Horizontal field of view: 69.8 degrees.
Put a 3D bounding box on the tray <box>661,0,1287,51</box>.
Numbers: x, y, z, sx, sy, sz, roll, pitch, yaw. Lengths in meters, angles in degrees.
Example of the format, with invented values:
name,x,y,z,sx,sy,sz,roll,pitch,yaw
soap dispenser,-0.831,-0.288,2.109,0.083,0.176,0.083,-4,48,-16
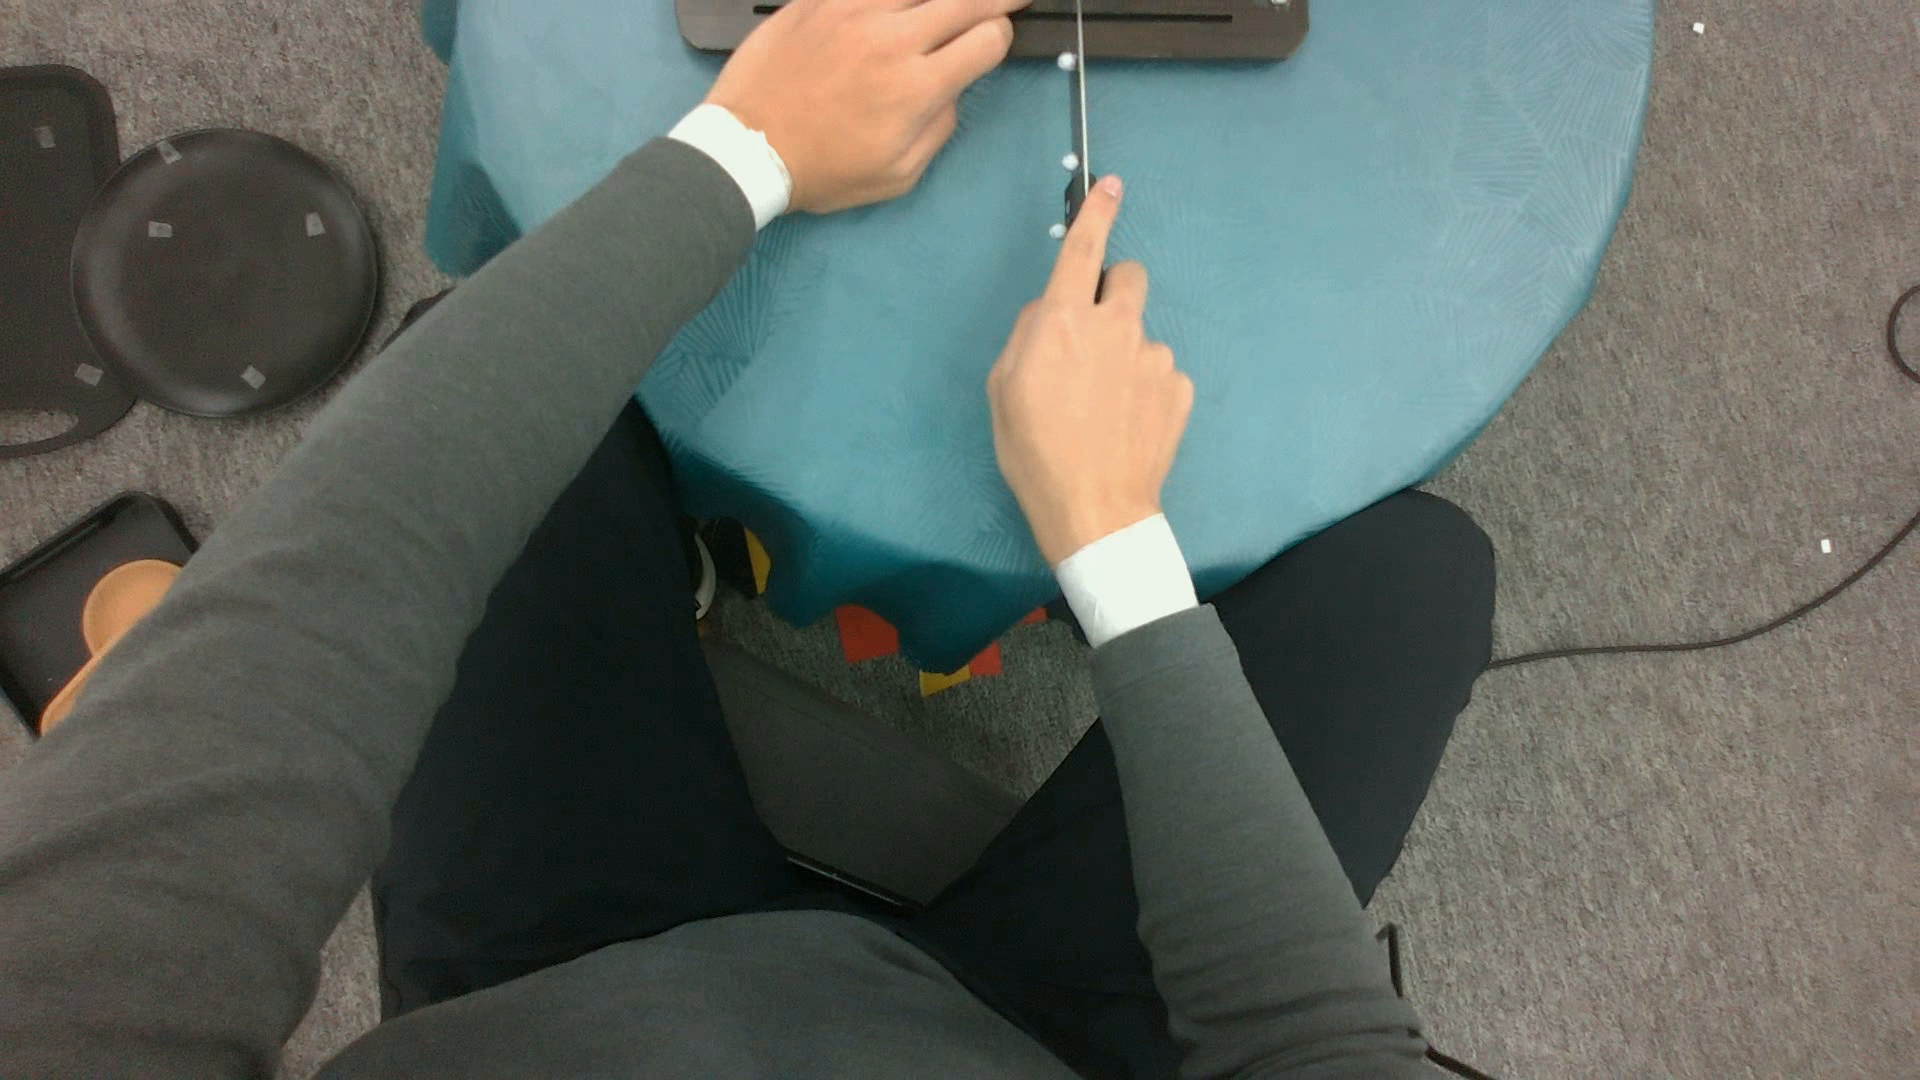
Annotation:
name,x,y,z,sx,sy,sz,roll,pitch,yaw
tray,0.008,-0.323,0.672,0.306,0.018,0.170,-1,88,-6

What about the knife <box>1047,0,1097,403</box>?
name,x,y,z,sx,sy,sz,roll,pitch,yaw
knife,0.049,-0.181,0.641,0.016,0.024,0.238,-2,80,-8
